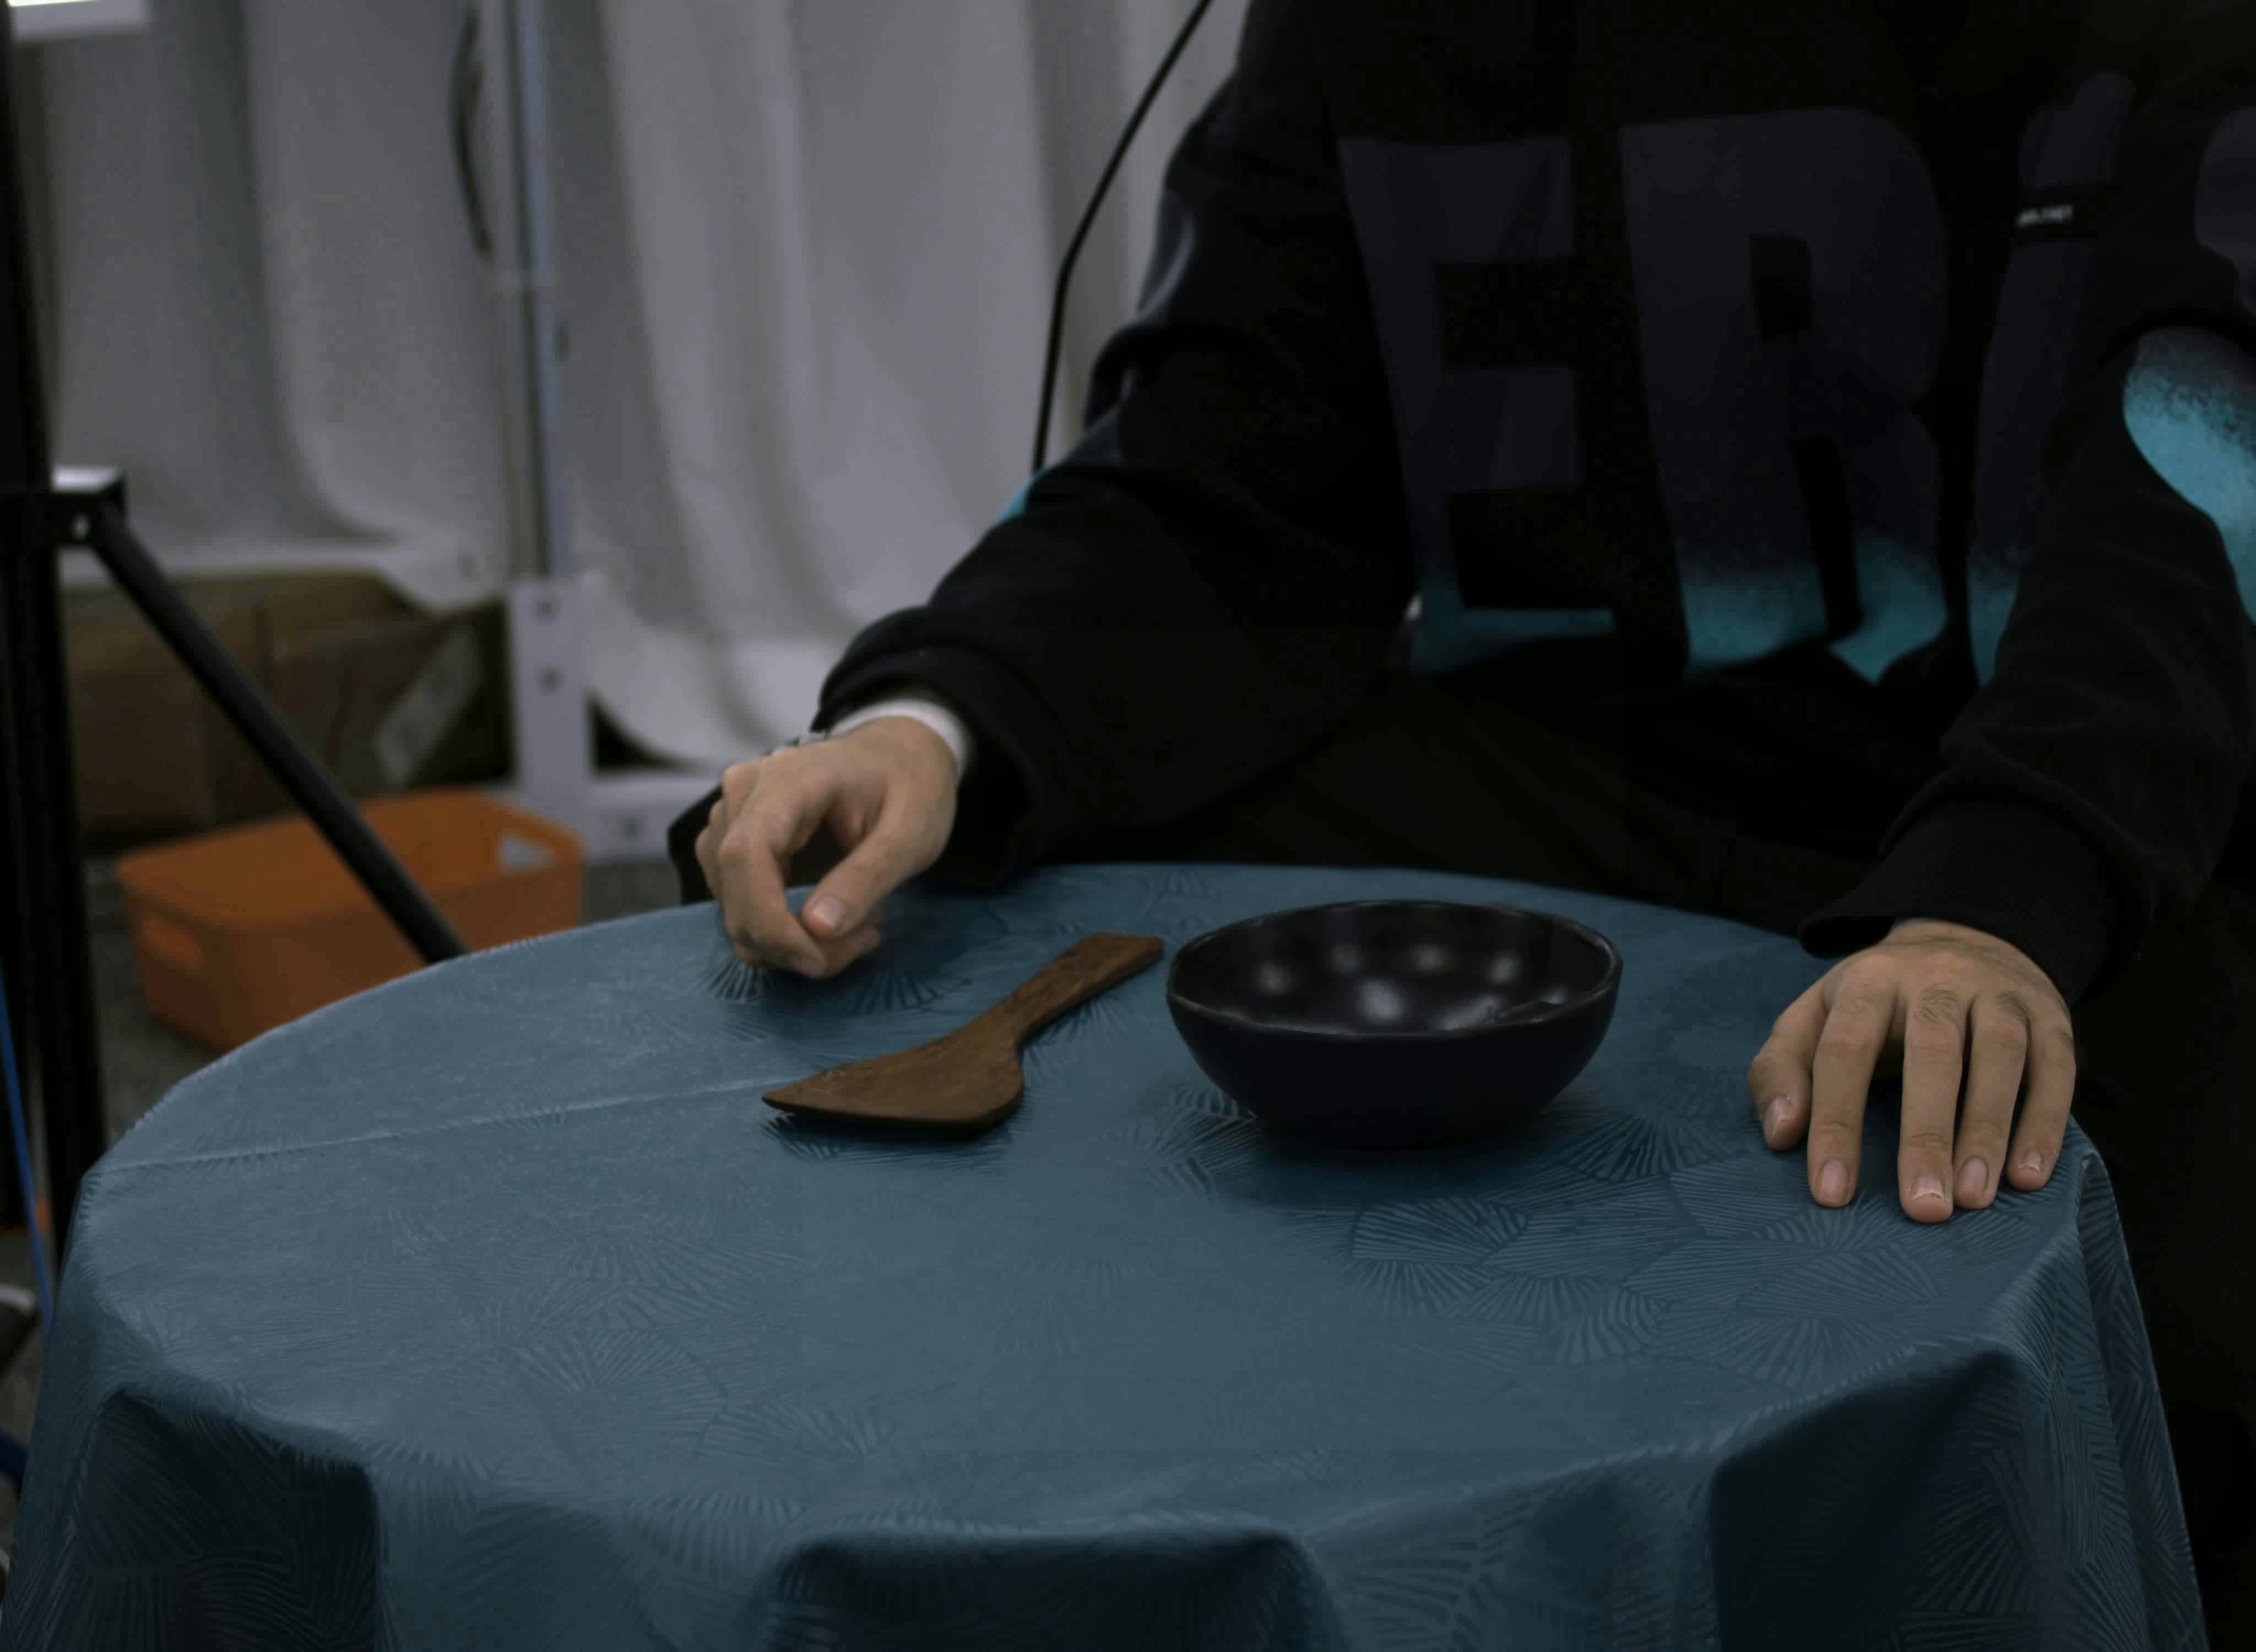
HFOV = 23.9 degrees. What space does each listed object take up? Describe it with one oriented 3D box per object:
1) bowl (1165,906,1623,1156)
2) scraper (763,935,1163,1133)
[{"bbox_3d":[0.082,0.066,1.605,0.139,0.050,0.140,-5,14,0],"label":"bowl"},{"bbox_3d":[-0.040,0.065,1.702,0.077,0.011,0.208,5,17,24],"label":"scraper"}]
